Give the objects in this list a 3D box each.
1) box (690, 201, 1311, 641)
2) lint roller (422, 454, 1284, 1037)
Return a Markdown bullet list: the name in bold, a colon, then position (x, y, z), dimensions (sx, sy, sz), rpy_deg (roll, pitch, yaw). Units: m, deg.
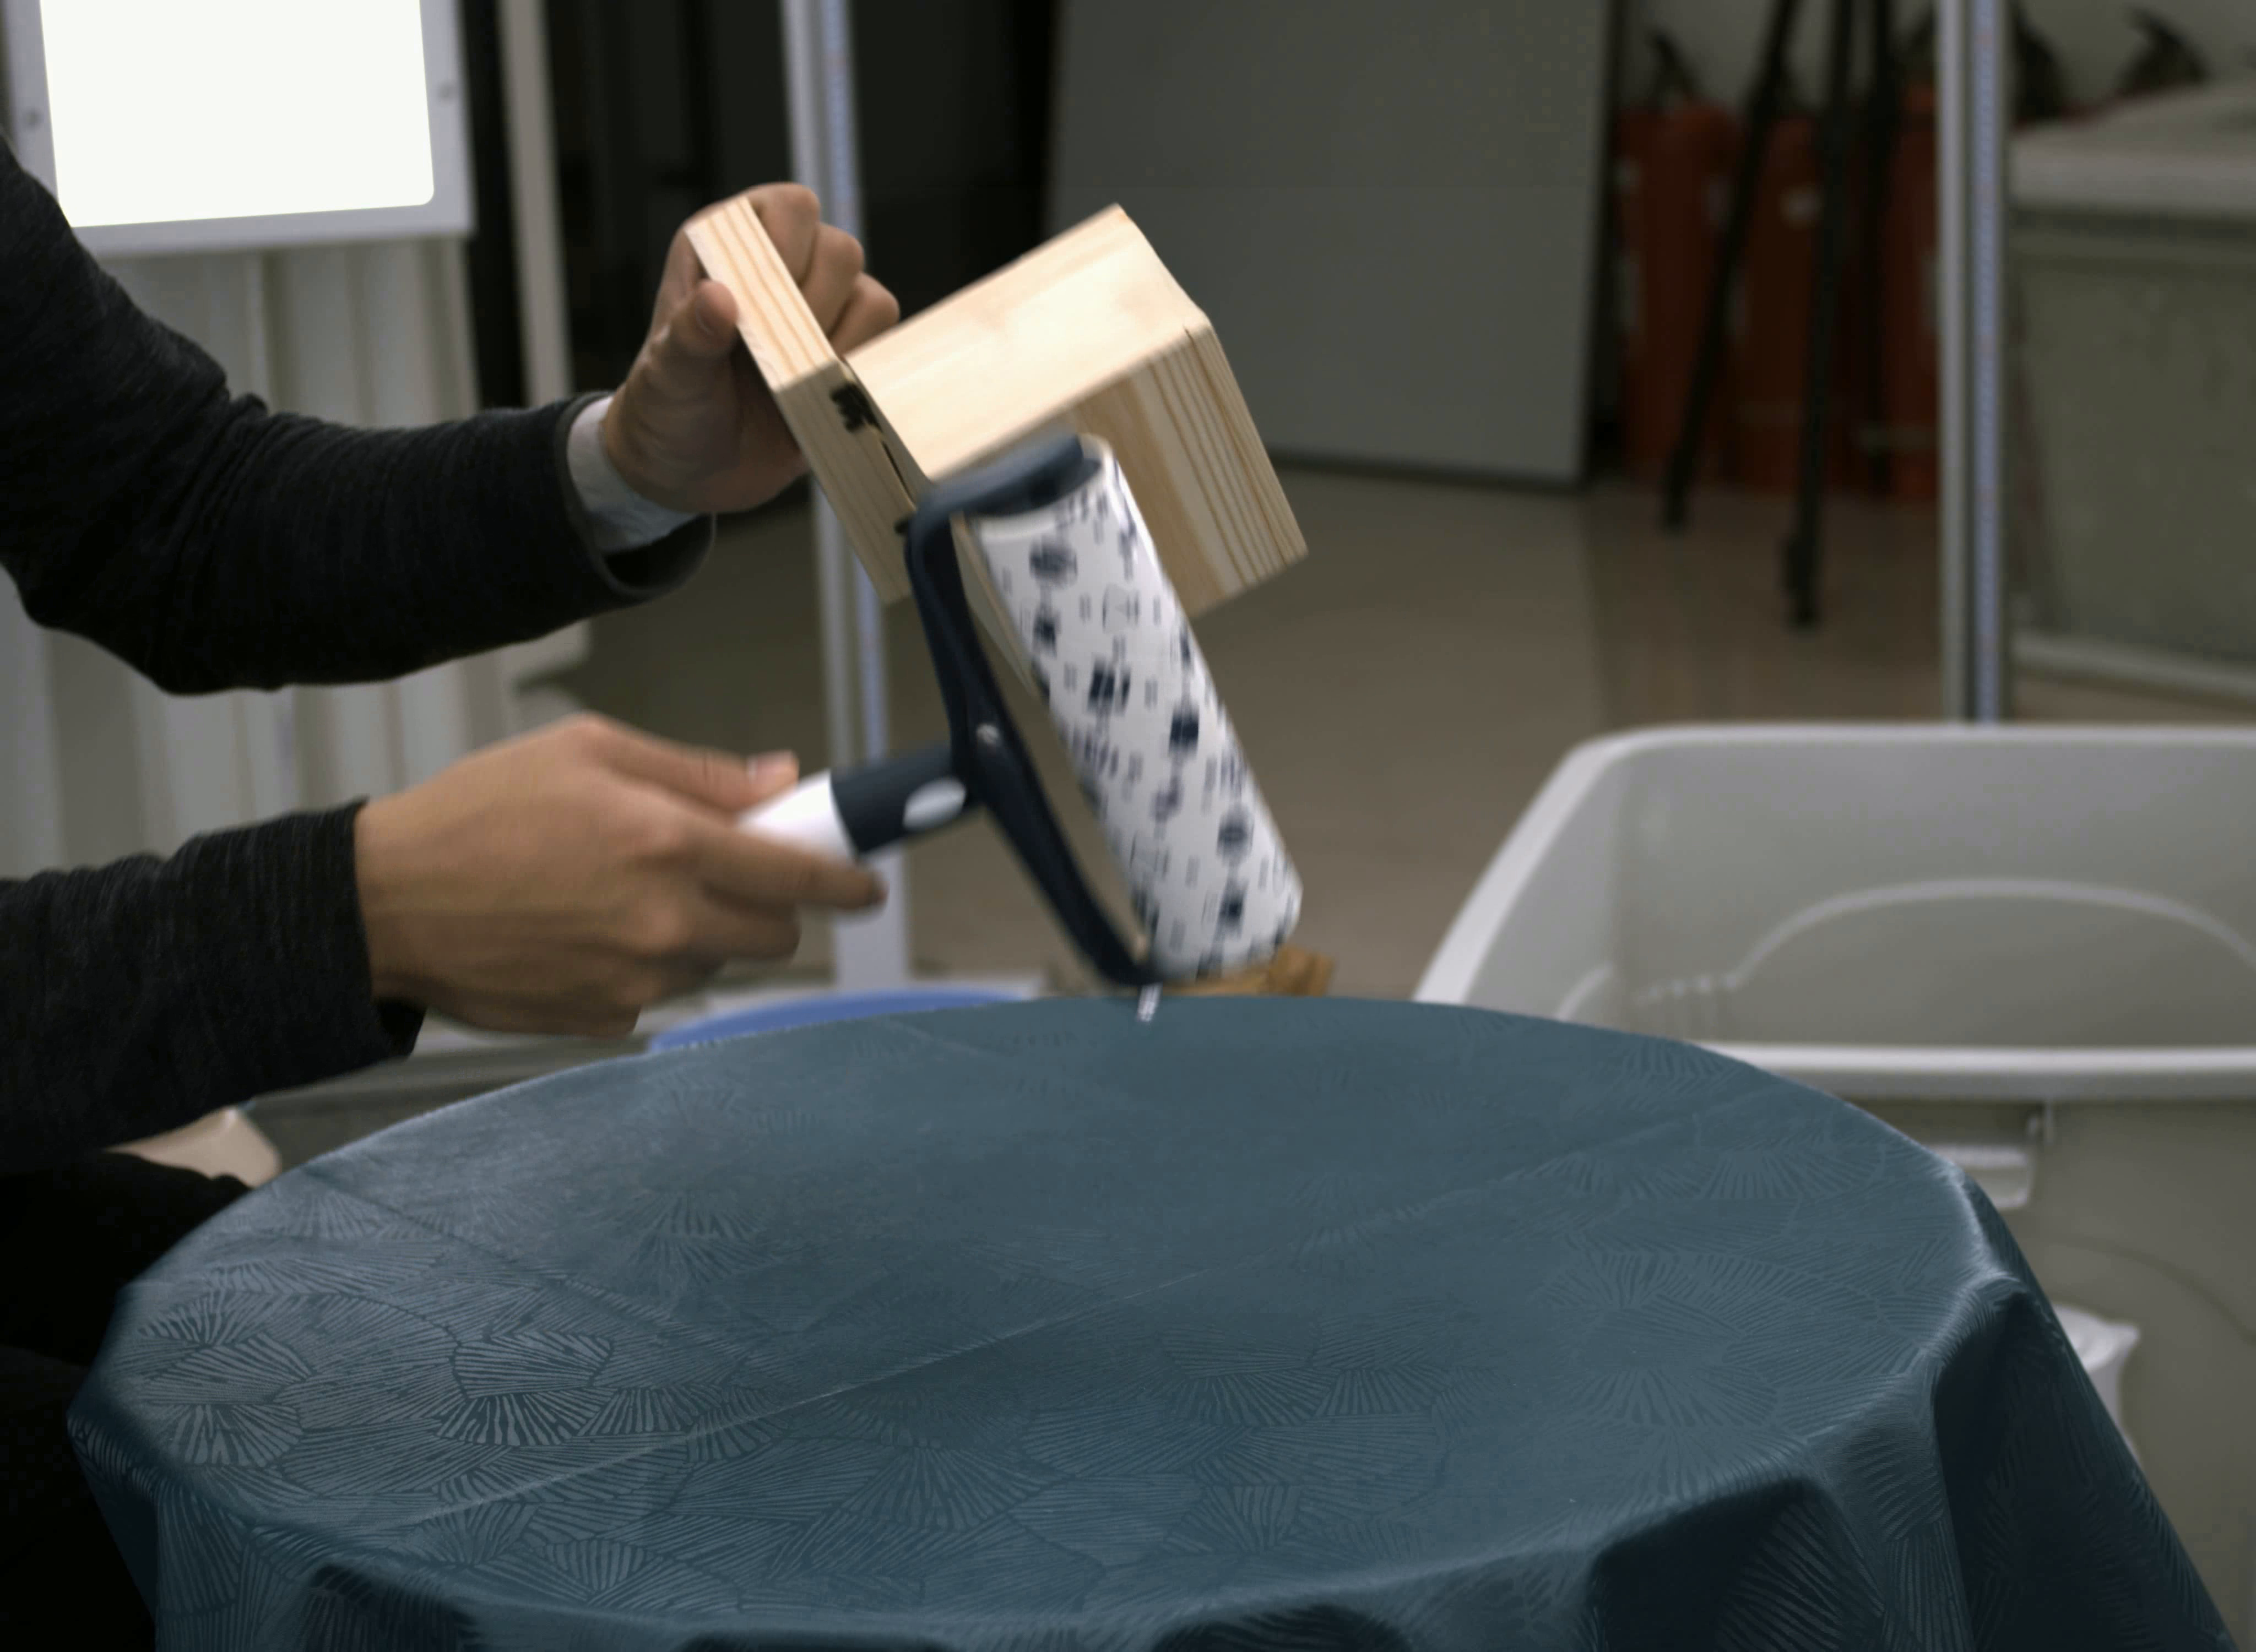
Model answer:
- **box**: position (-0.042, -0.142, 1.745), dimensions (0.133, 0.102, 0.186), rpy_deg (-29, 41, -5)
- **lint roller**: position (-0.092, 0.012, 1.587), dimensions (0.245, 0.176, 0.050), rpy_deg (-21, 24, 5)
